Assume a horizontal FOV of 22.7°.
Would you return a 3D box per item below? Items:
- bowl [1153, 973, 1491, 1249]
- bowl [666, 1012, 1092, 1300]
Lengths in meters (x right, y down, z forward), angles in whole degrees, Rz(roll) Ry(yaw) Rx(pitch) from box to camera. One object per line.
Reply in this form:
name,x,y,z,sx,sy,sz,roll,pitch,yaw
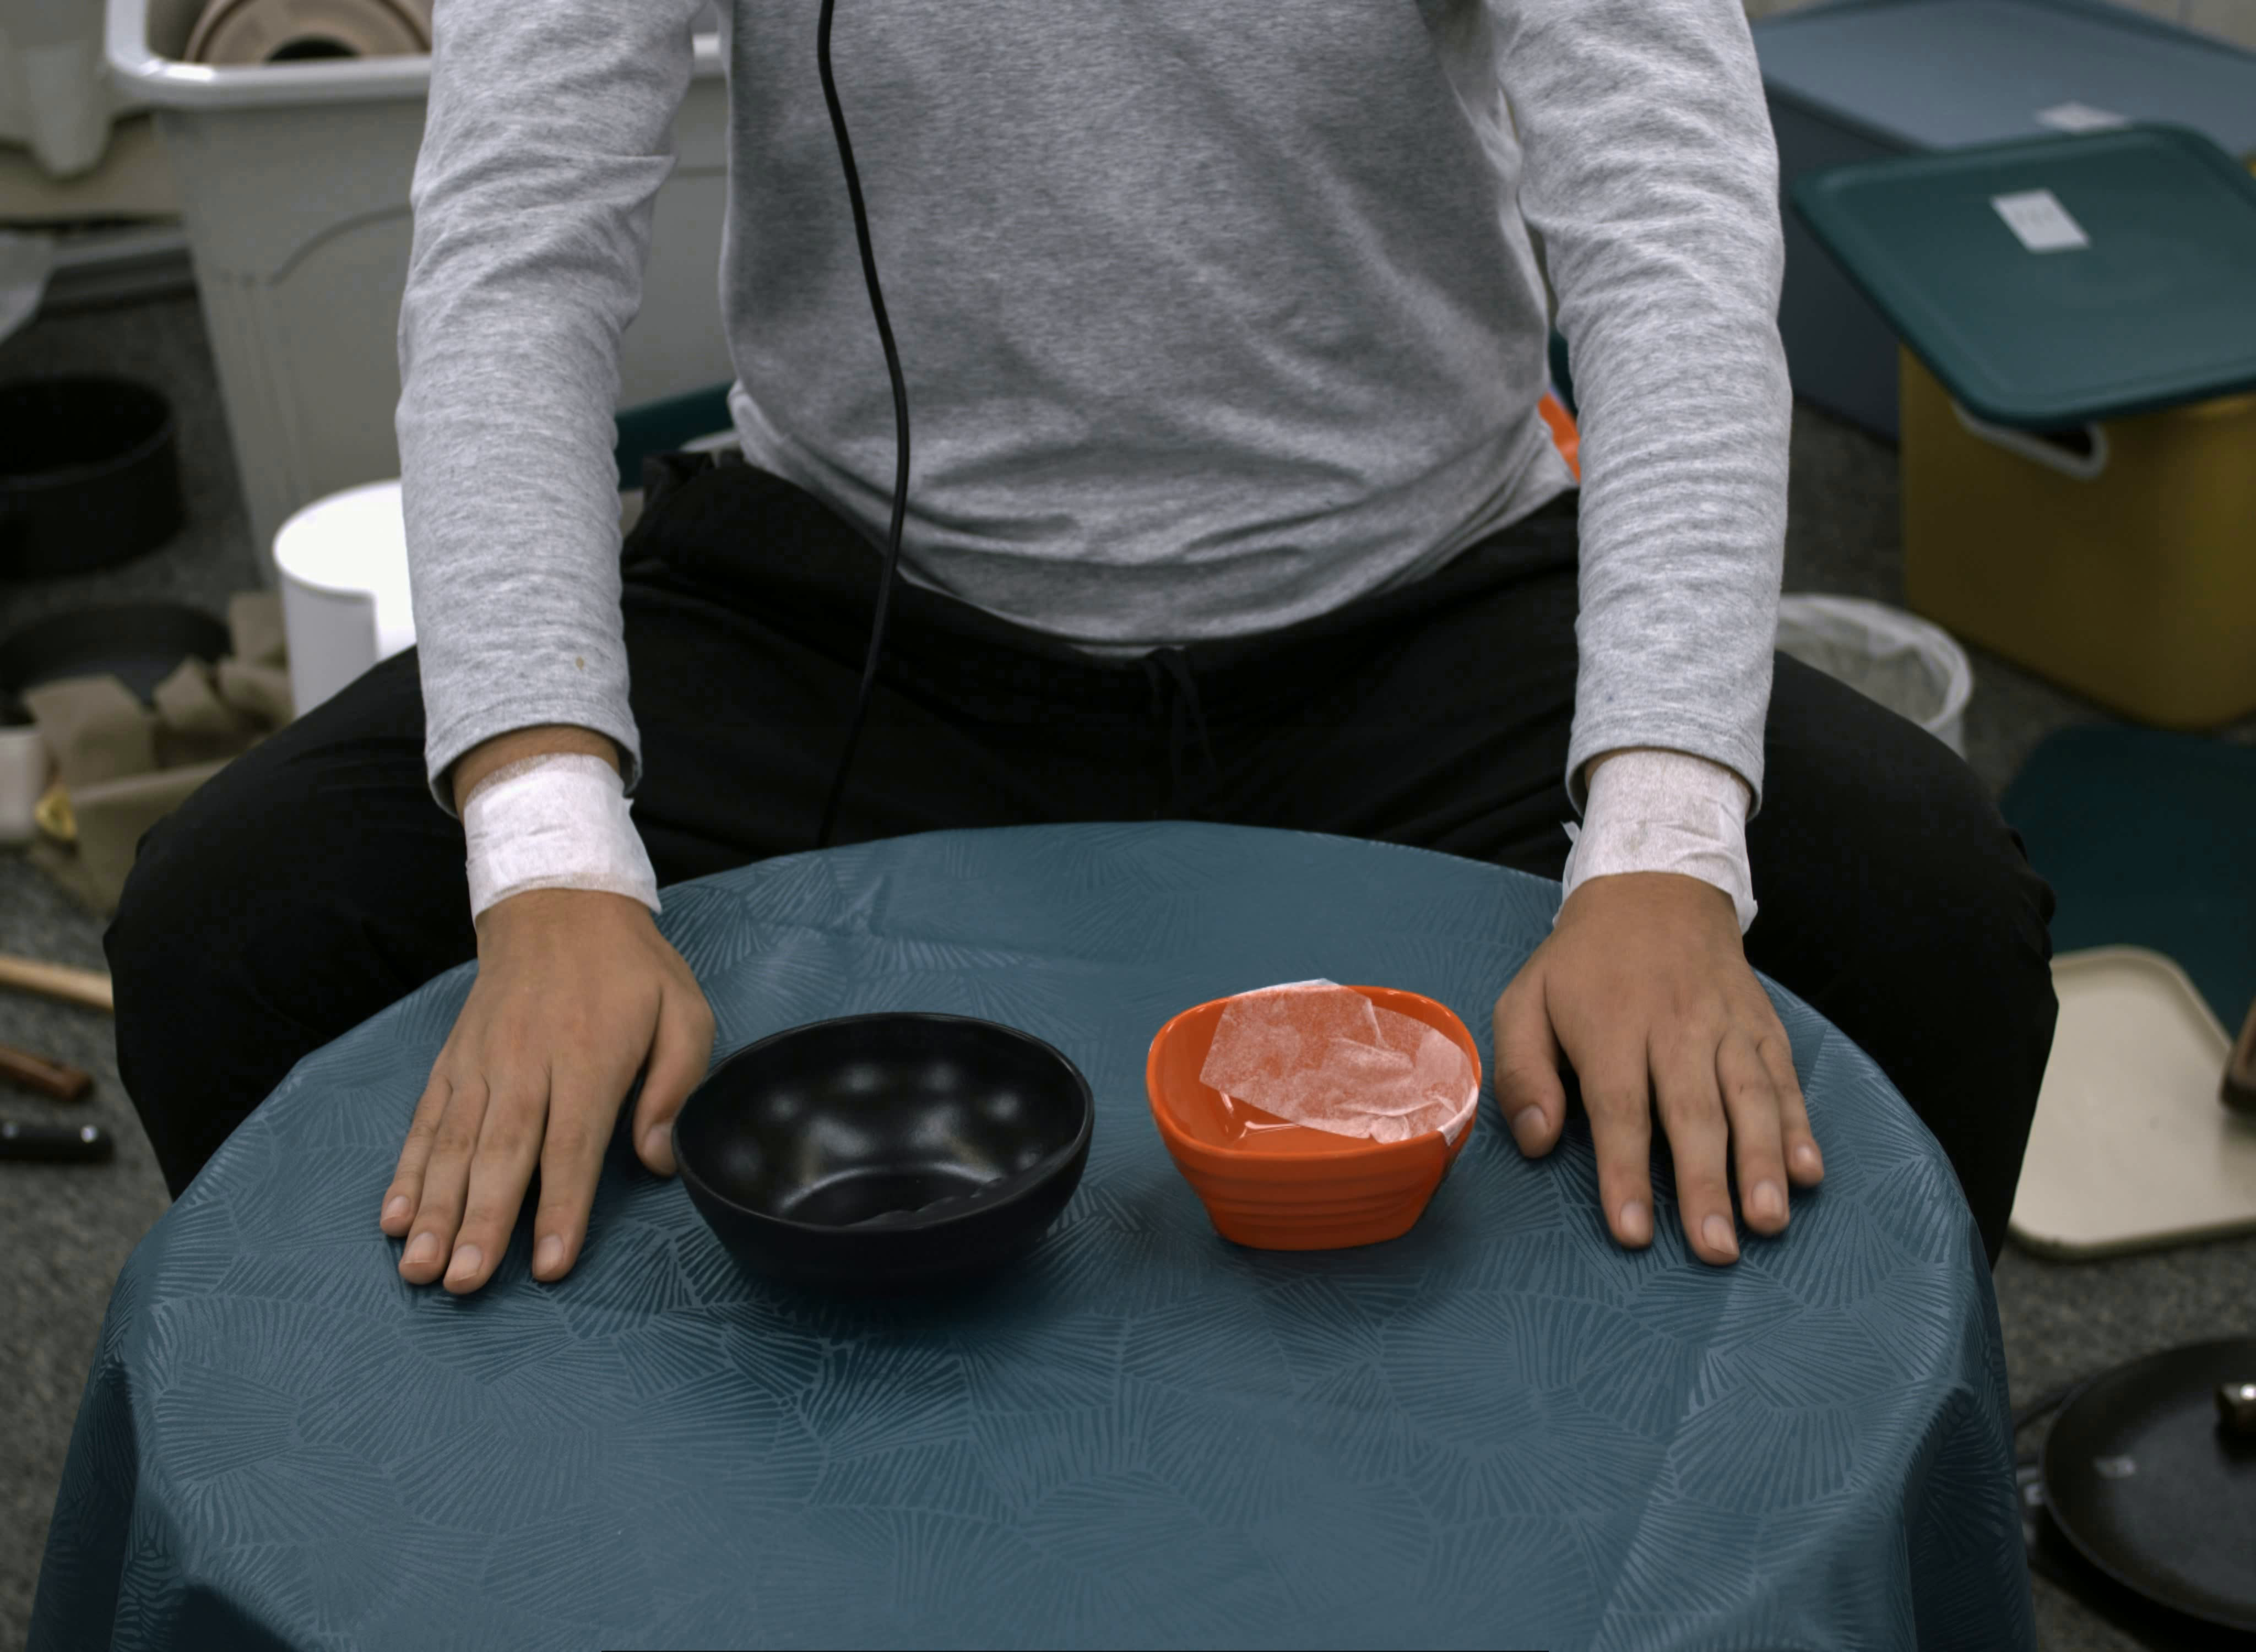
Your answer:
bowl,0.064,0.098,1.840,0.118,0.051,0.121,-3,30,2
bowl,-0.080,0.116,1.829,0.139,0.049,0.142,-1,26,1
